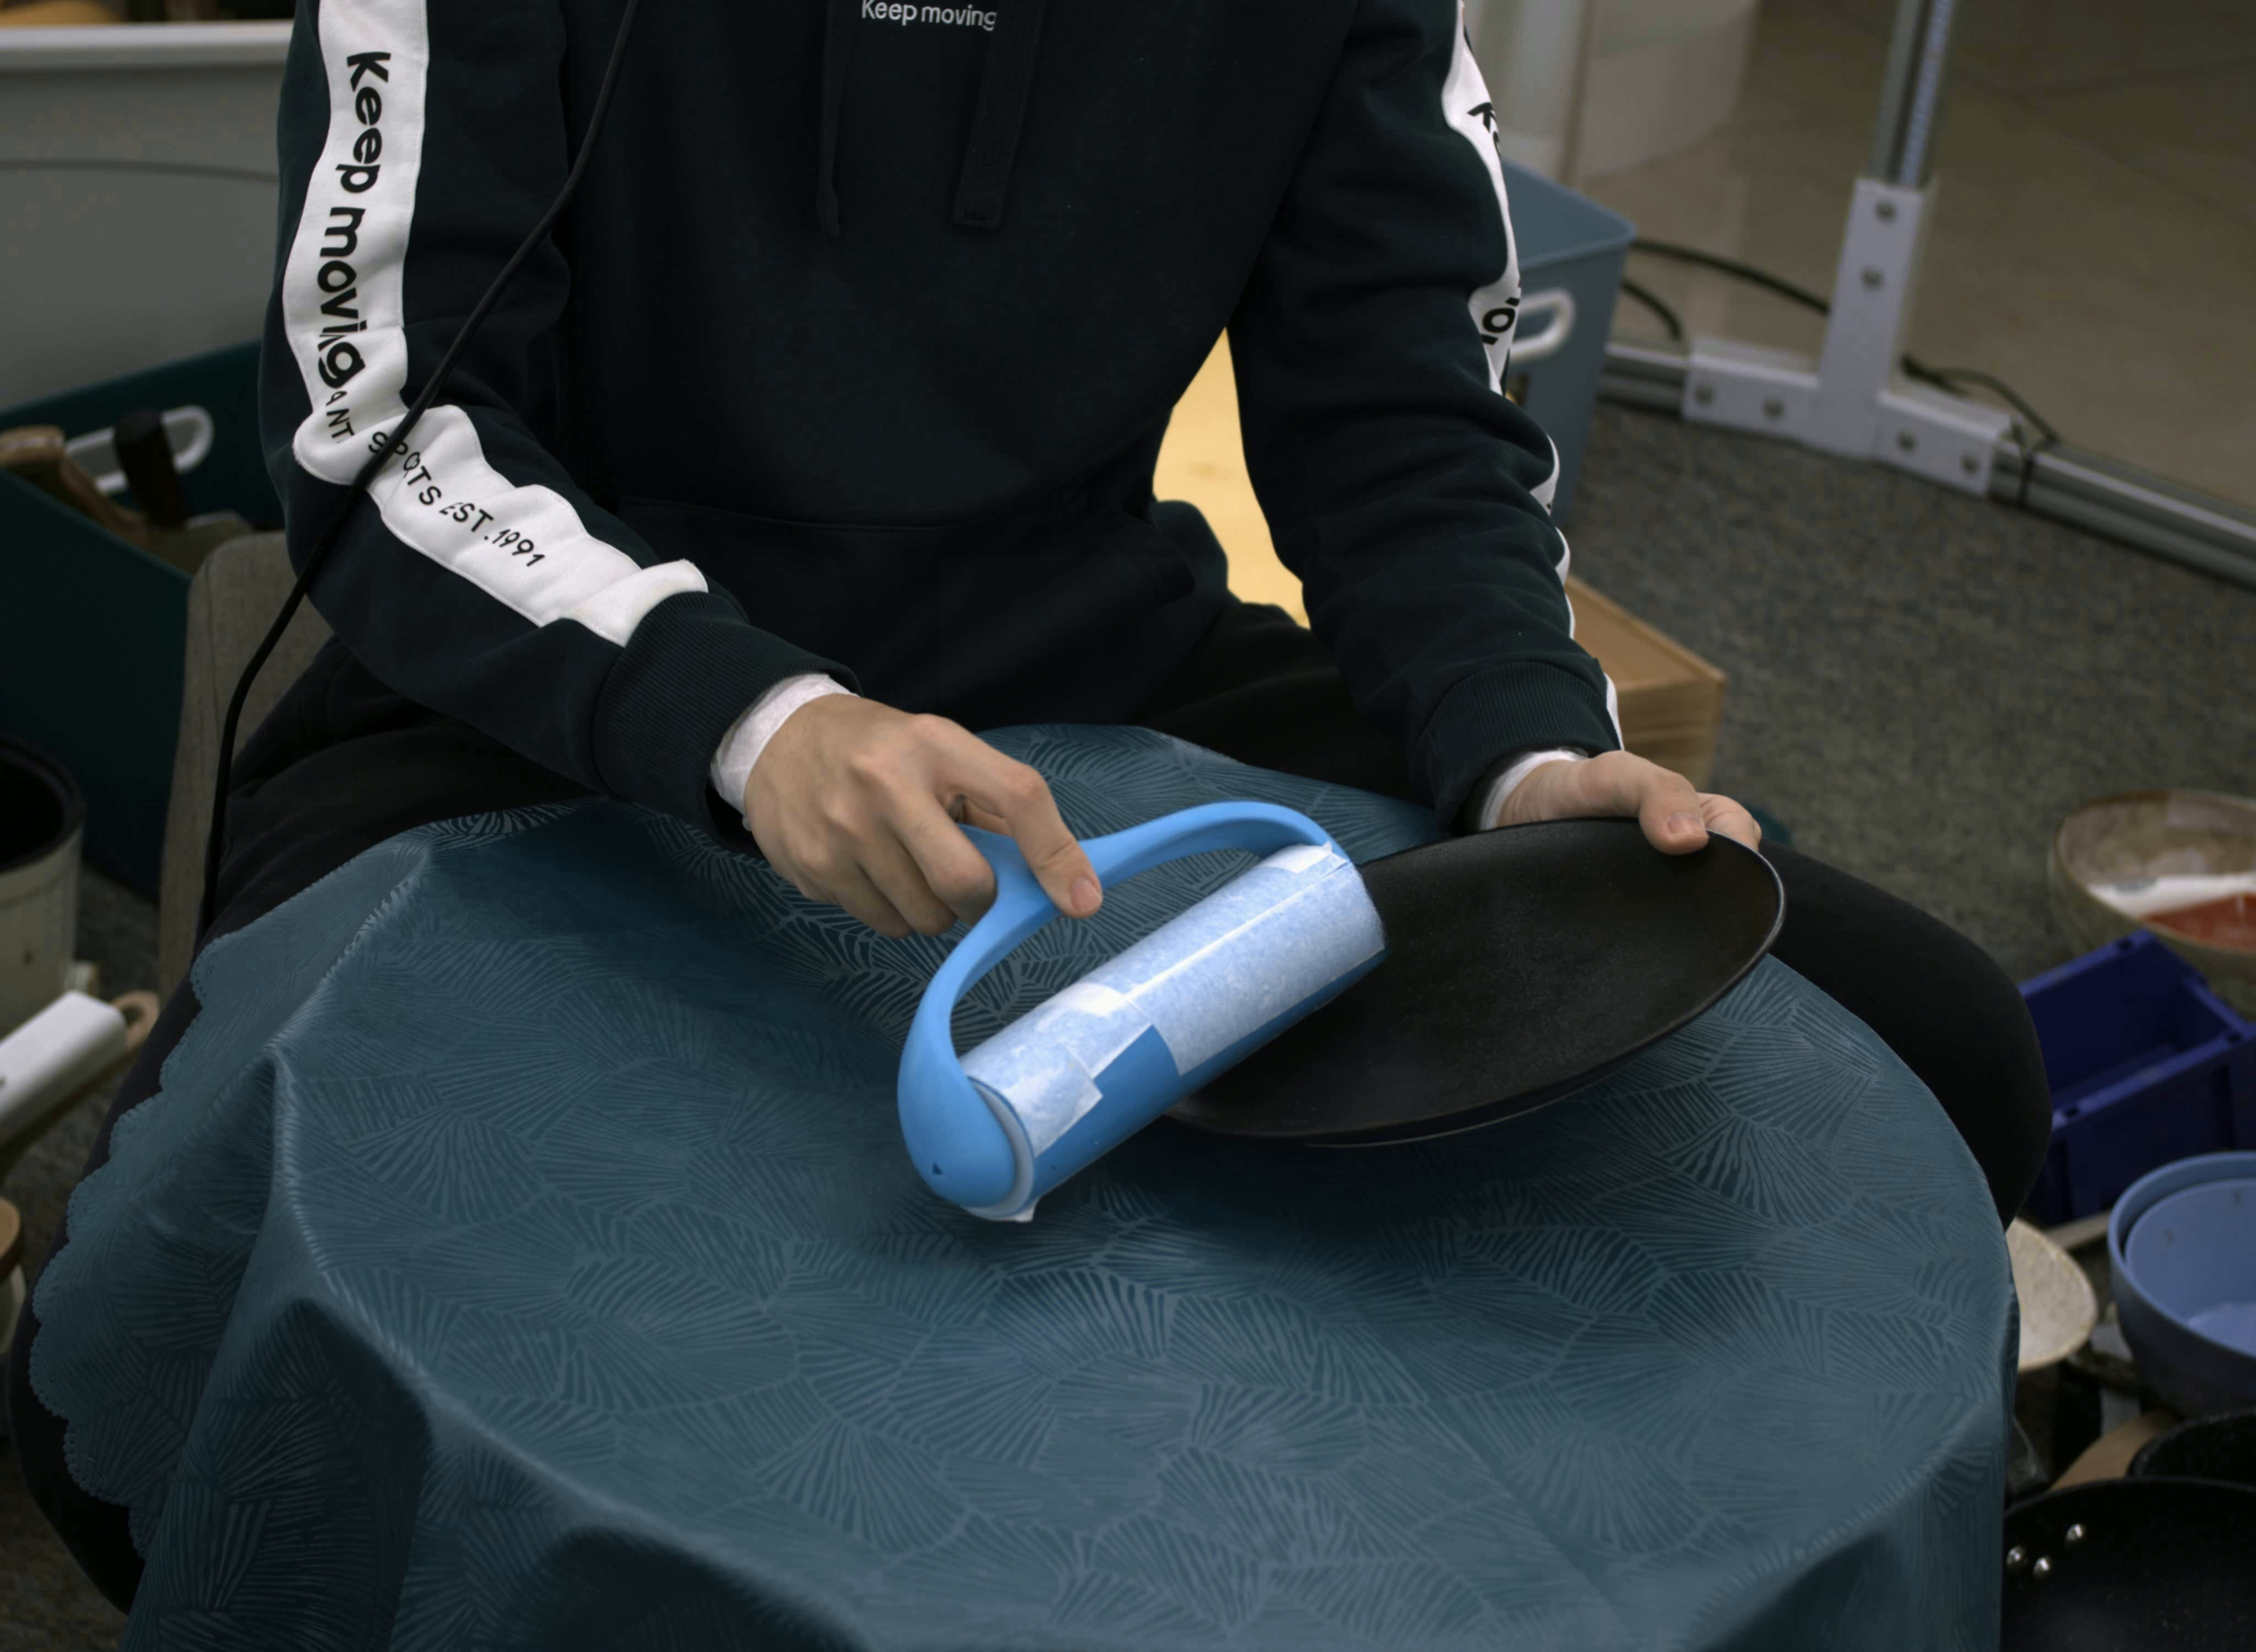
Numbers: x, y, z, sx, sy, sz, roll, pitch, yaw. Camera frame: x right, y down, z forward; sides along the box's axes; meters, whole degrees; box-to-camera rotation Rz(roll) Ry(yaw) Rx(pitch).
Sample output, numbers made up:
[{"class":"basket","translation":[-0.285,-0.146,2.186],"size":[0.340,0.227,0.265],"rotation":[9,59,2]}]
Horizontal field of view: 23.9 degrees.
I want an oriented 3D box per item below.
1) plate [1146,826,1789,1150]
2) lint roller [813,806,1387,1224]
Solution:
[{"class":"plate","translation":[0.113,0.060,1.849],"size":[0.244,0.023,0.245],"rotation":[-15,19,5]},{"class":"lint roller","translation":[-0.036,0.041,1.829],"size":[0.181,0.067,0.228],"rotation":[30,41,24]}]
